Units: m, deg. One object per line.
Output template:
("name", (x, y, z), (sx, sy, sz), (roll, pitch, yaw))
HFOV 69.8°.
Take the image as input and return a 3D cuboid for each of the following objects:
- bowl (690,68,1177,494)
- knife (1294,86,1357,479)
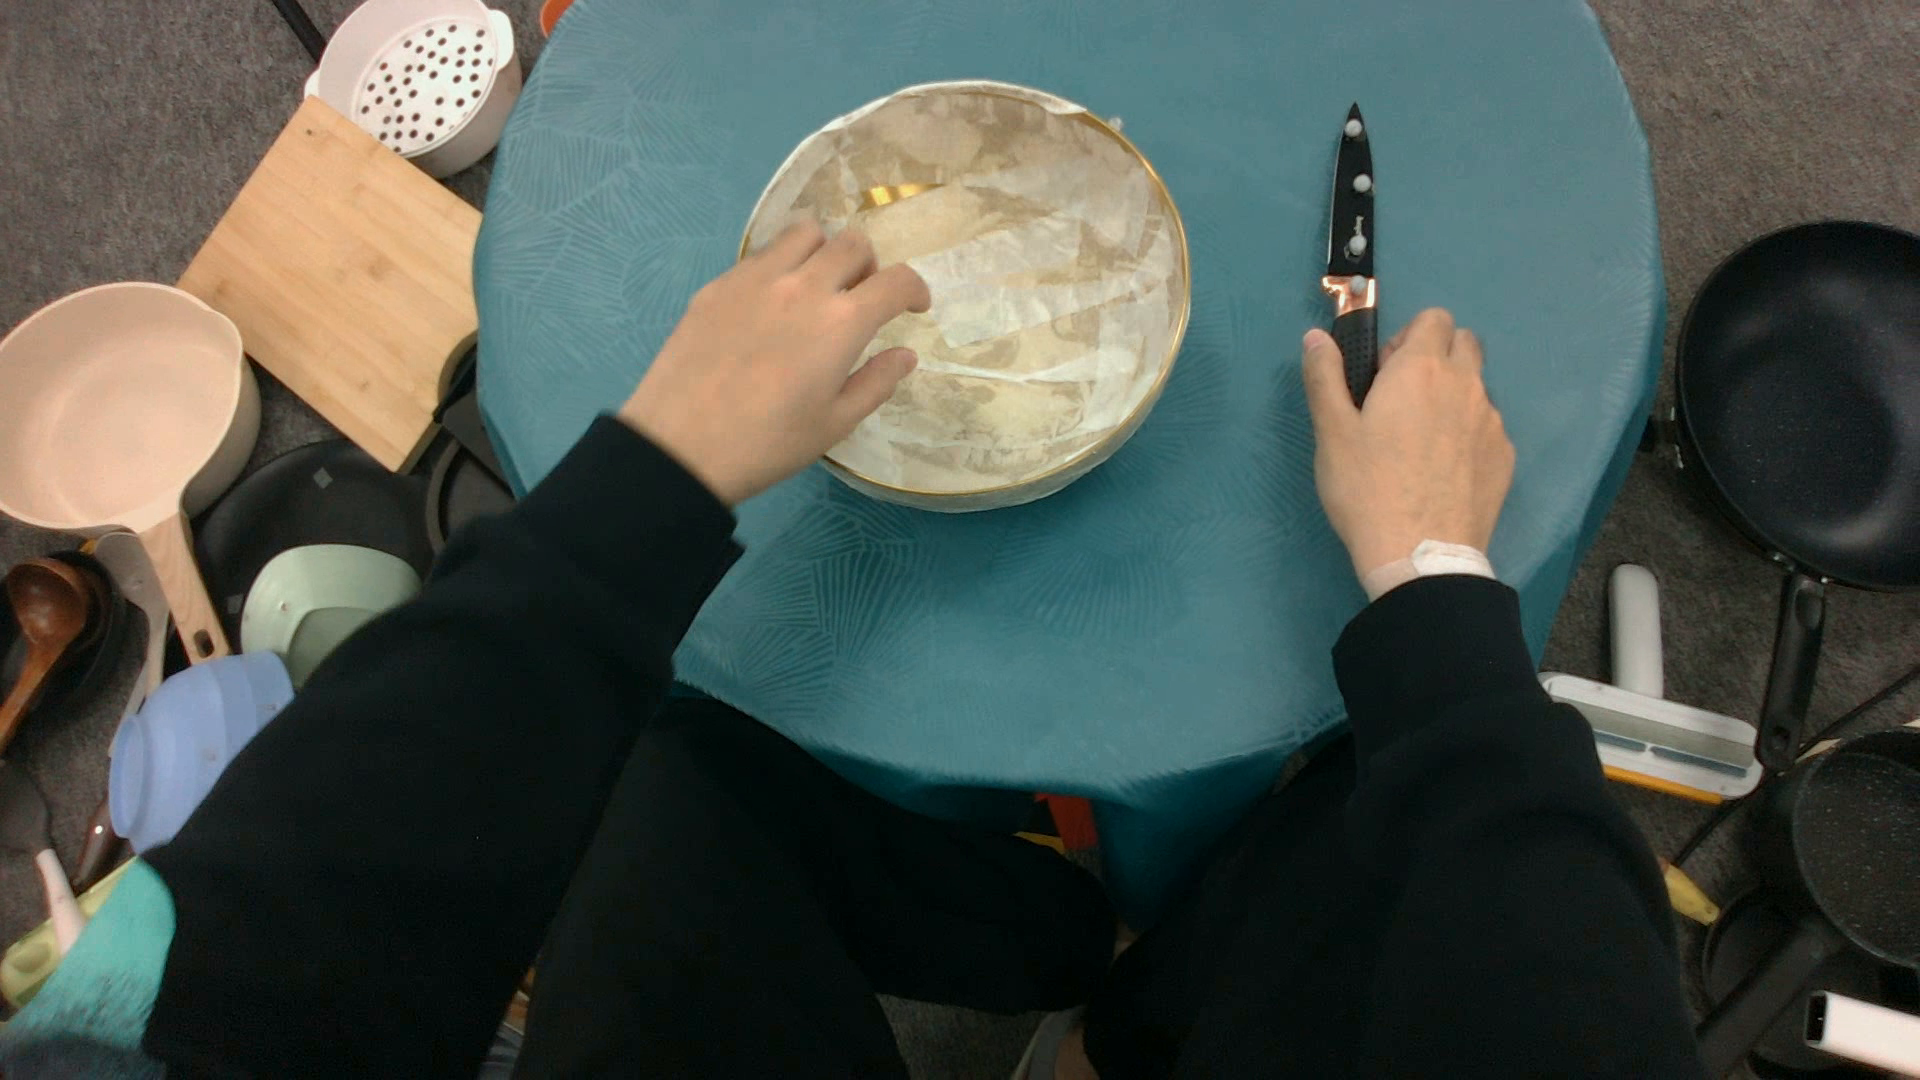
("bowl", (-0.008, -0.103, 0.635), (0.214, 0.094, 0.215), (-1, 70, 2))
("knife", (0.176, -0.132, 0.666), (0.026, 0.017, 0.226), (3, 66, 4))
